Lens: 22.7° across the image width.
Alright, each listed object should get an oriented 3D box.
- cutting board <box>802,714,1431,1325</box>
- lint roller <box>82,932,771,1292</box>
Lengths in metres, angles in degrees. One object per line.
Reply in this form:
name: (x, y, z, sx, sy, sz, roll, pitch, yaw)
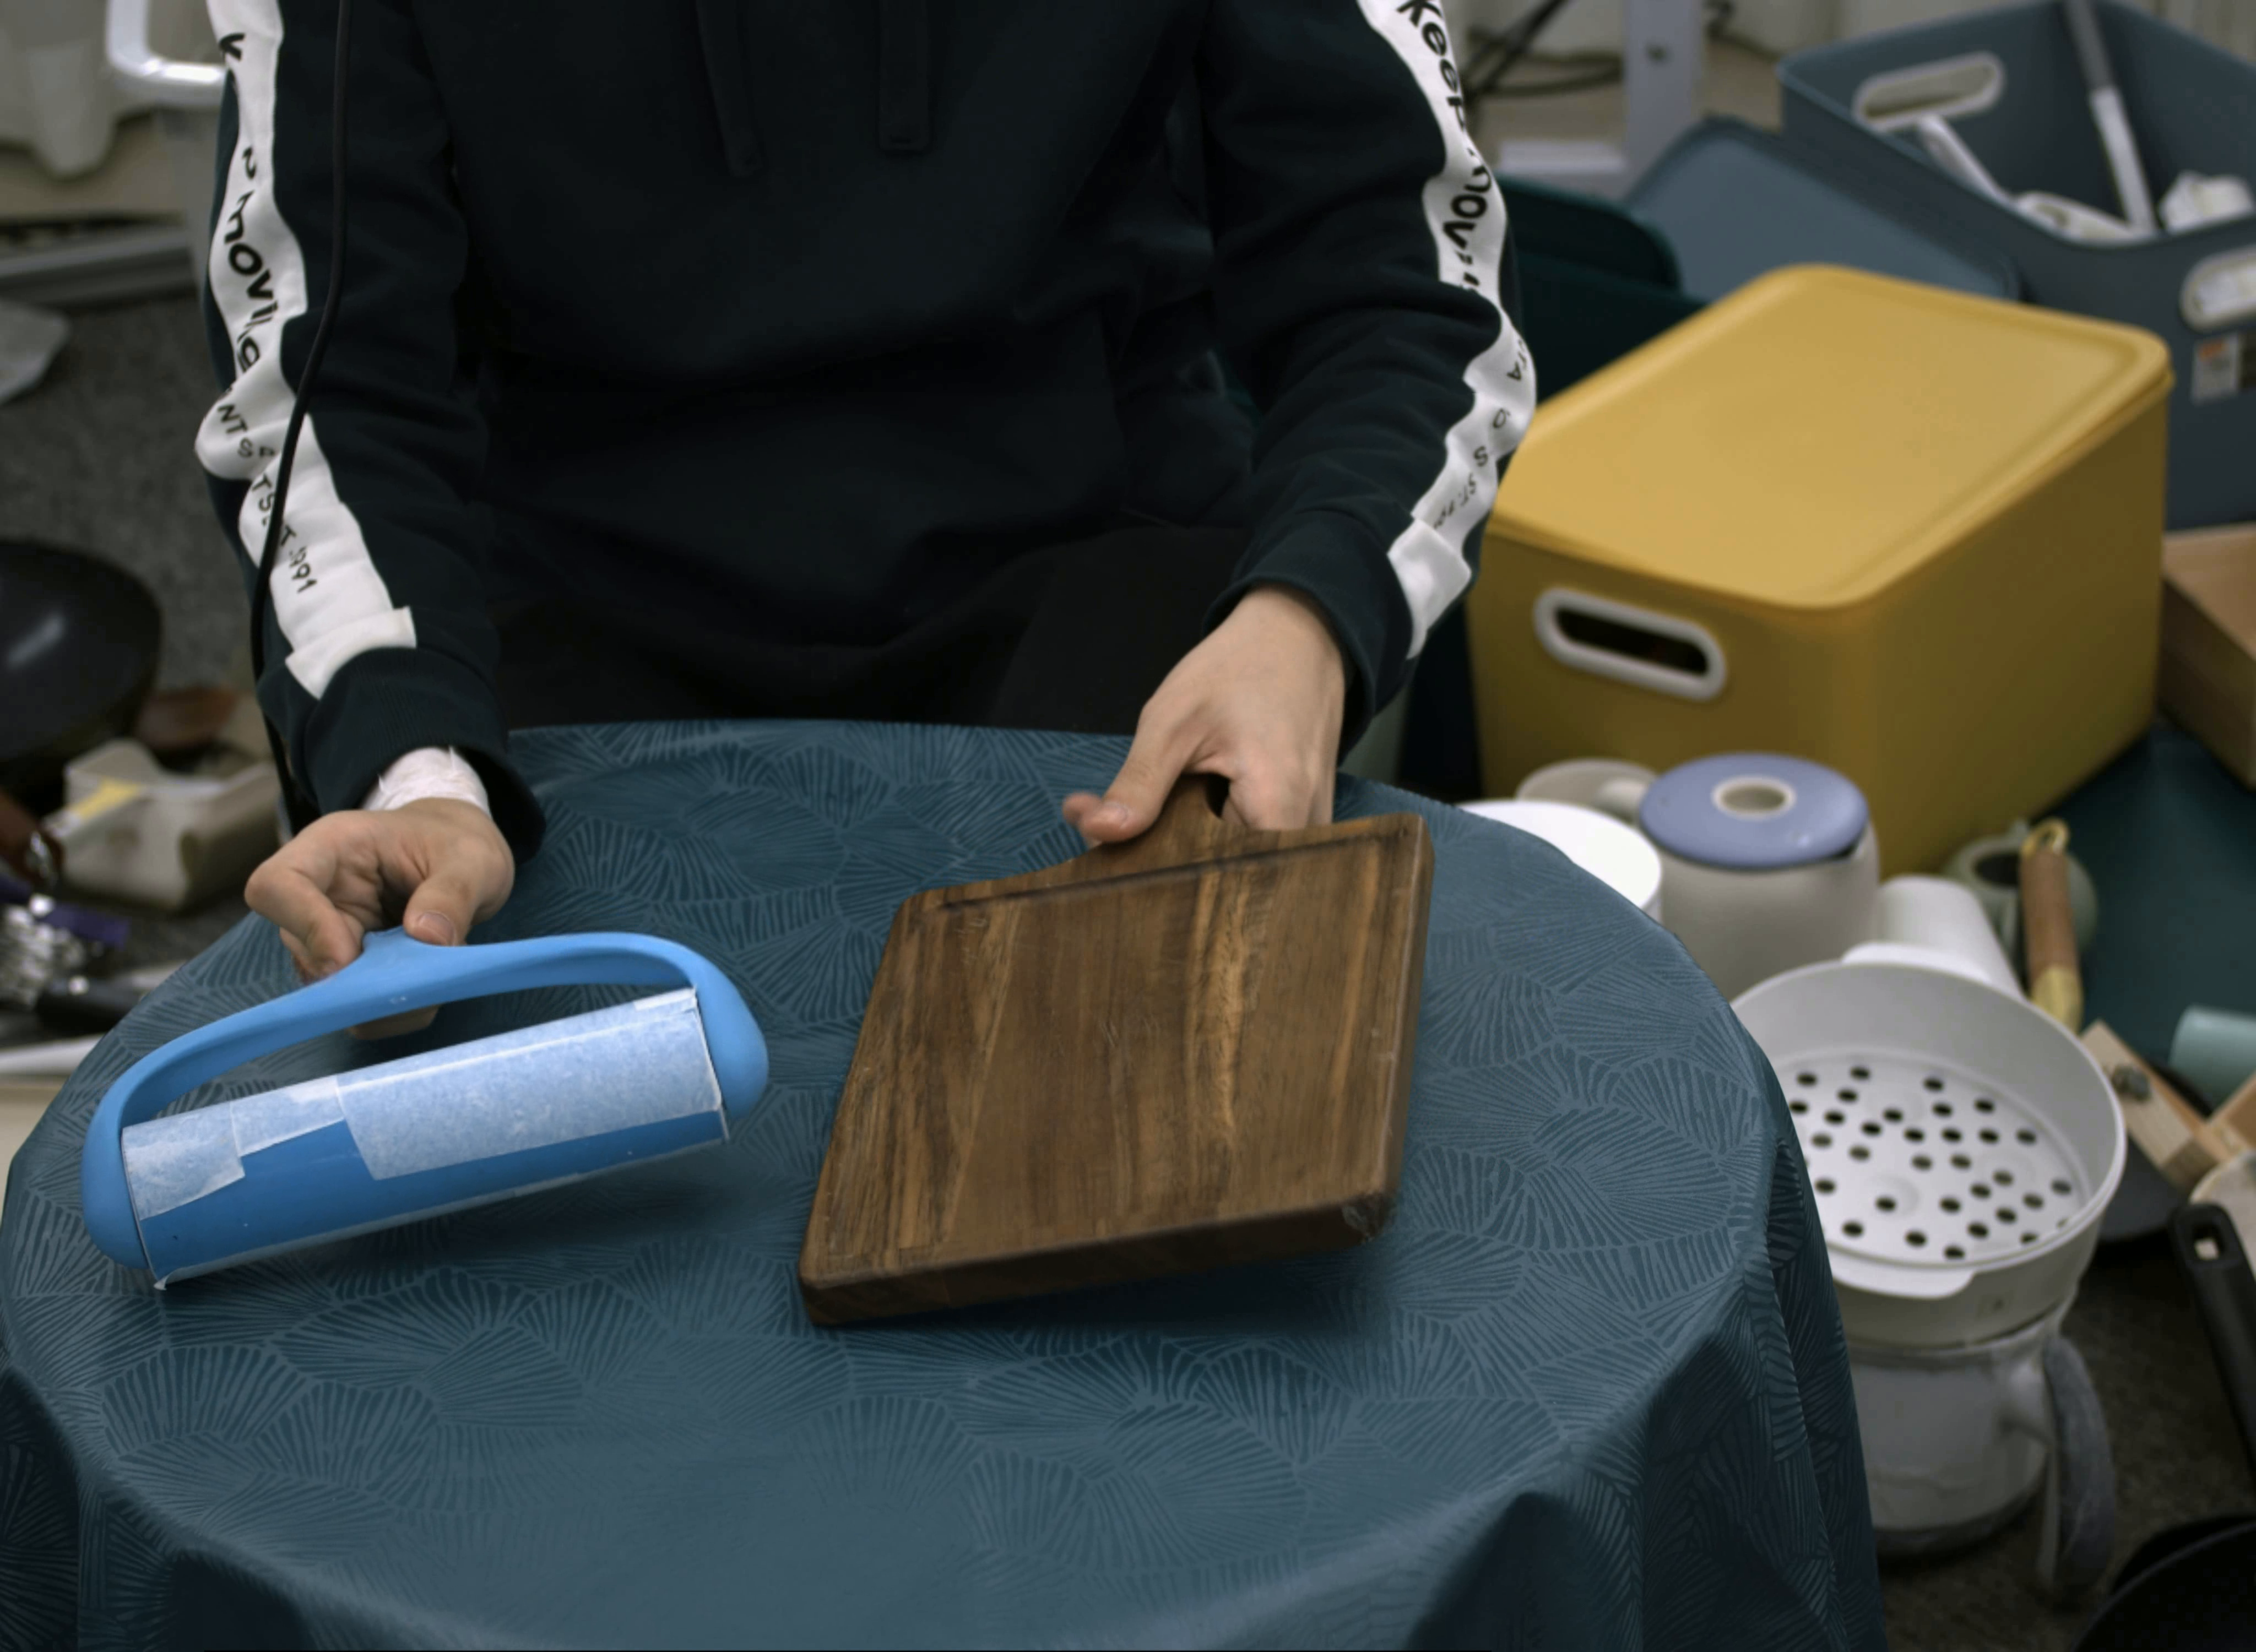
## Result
cutting board: (0.005, 0.052, 1.923, 0.199, 0.023, 0.358, -9, 27, 10)
lint roller: (-0.243, 0.073, 1.888, 0.229, 0.067, 0.182, -17, 32, -8)
